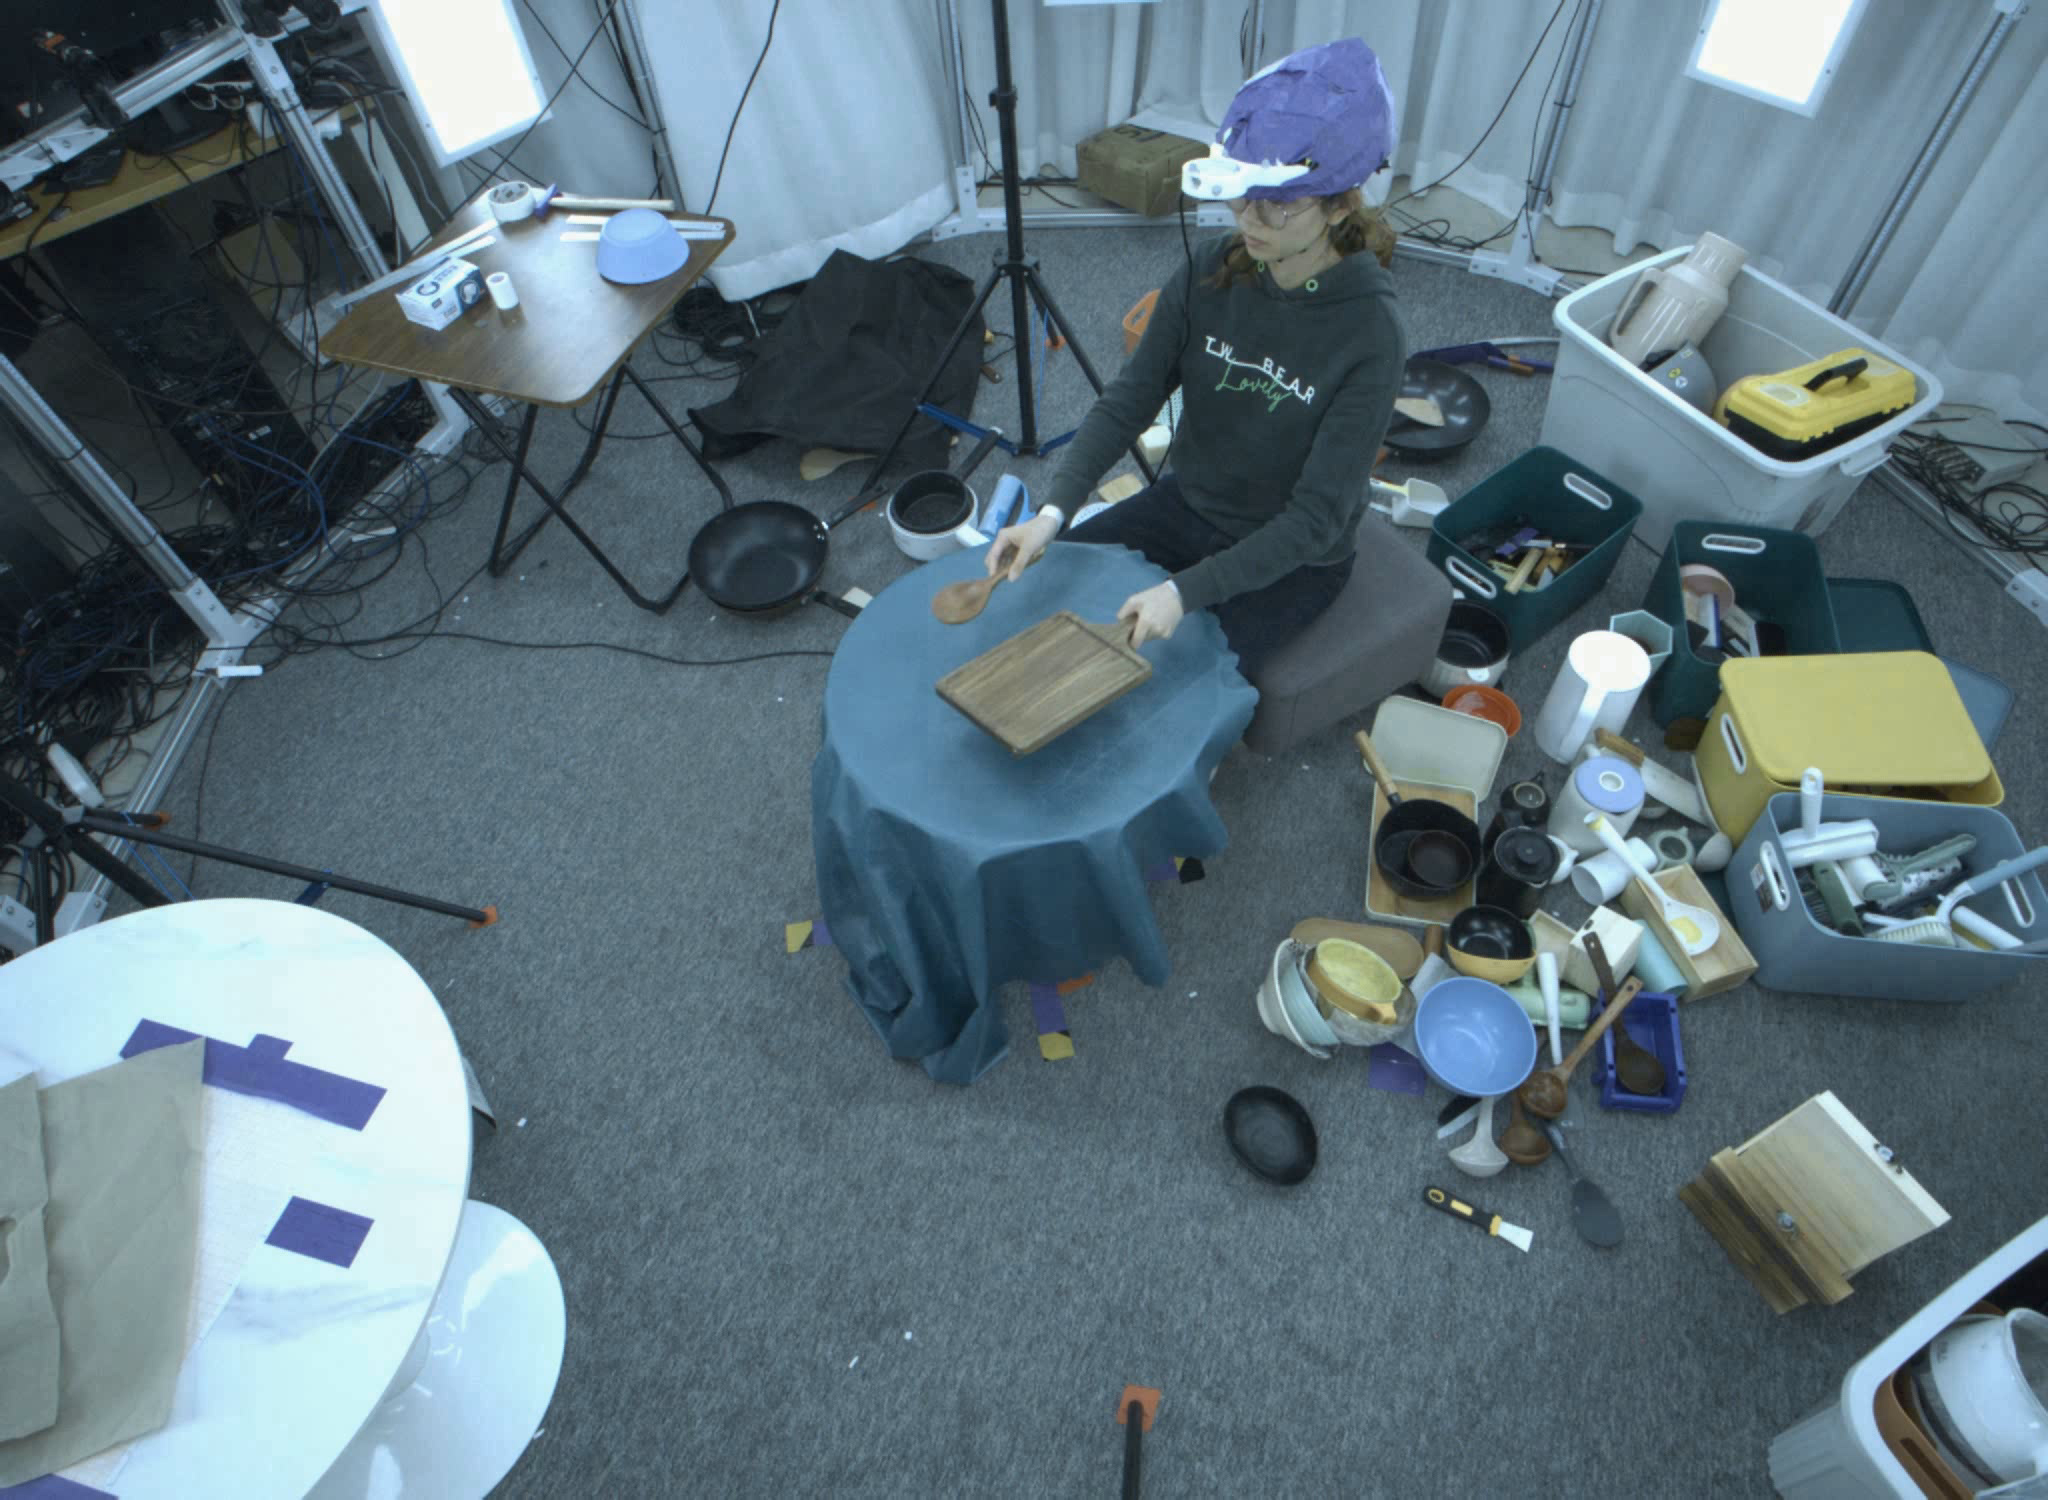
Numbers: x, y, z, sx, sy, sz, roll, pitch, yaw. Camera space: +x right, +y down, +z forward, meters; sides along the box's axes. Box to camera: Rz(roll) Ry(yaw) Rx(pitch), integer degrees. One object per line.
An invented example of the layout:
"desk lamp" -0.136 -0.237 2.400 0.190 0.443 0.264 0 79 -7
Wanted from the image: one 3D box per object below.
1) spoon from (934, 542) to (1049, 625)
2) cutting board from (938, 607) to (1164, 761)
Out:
"spoon" -0.046 -0.251 1.847 0.217 0.017 0.074 -38 63 -23
"cutting board" 0.070 -0.118 1.760 0.356 0.023 0.196 -32 49 -27
